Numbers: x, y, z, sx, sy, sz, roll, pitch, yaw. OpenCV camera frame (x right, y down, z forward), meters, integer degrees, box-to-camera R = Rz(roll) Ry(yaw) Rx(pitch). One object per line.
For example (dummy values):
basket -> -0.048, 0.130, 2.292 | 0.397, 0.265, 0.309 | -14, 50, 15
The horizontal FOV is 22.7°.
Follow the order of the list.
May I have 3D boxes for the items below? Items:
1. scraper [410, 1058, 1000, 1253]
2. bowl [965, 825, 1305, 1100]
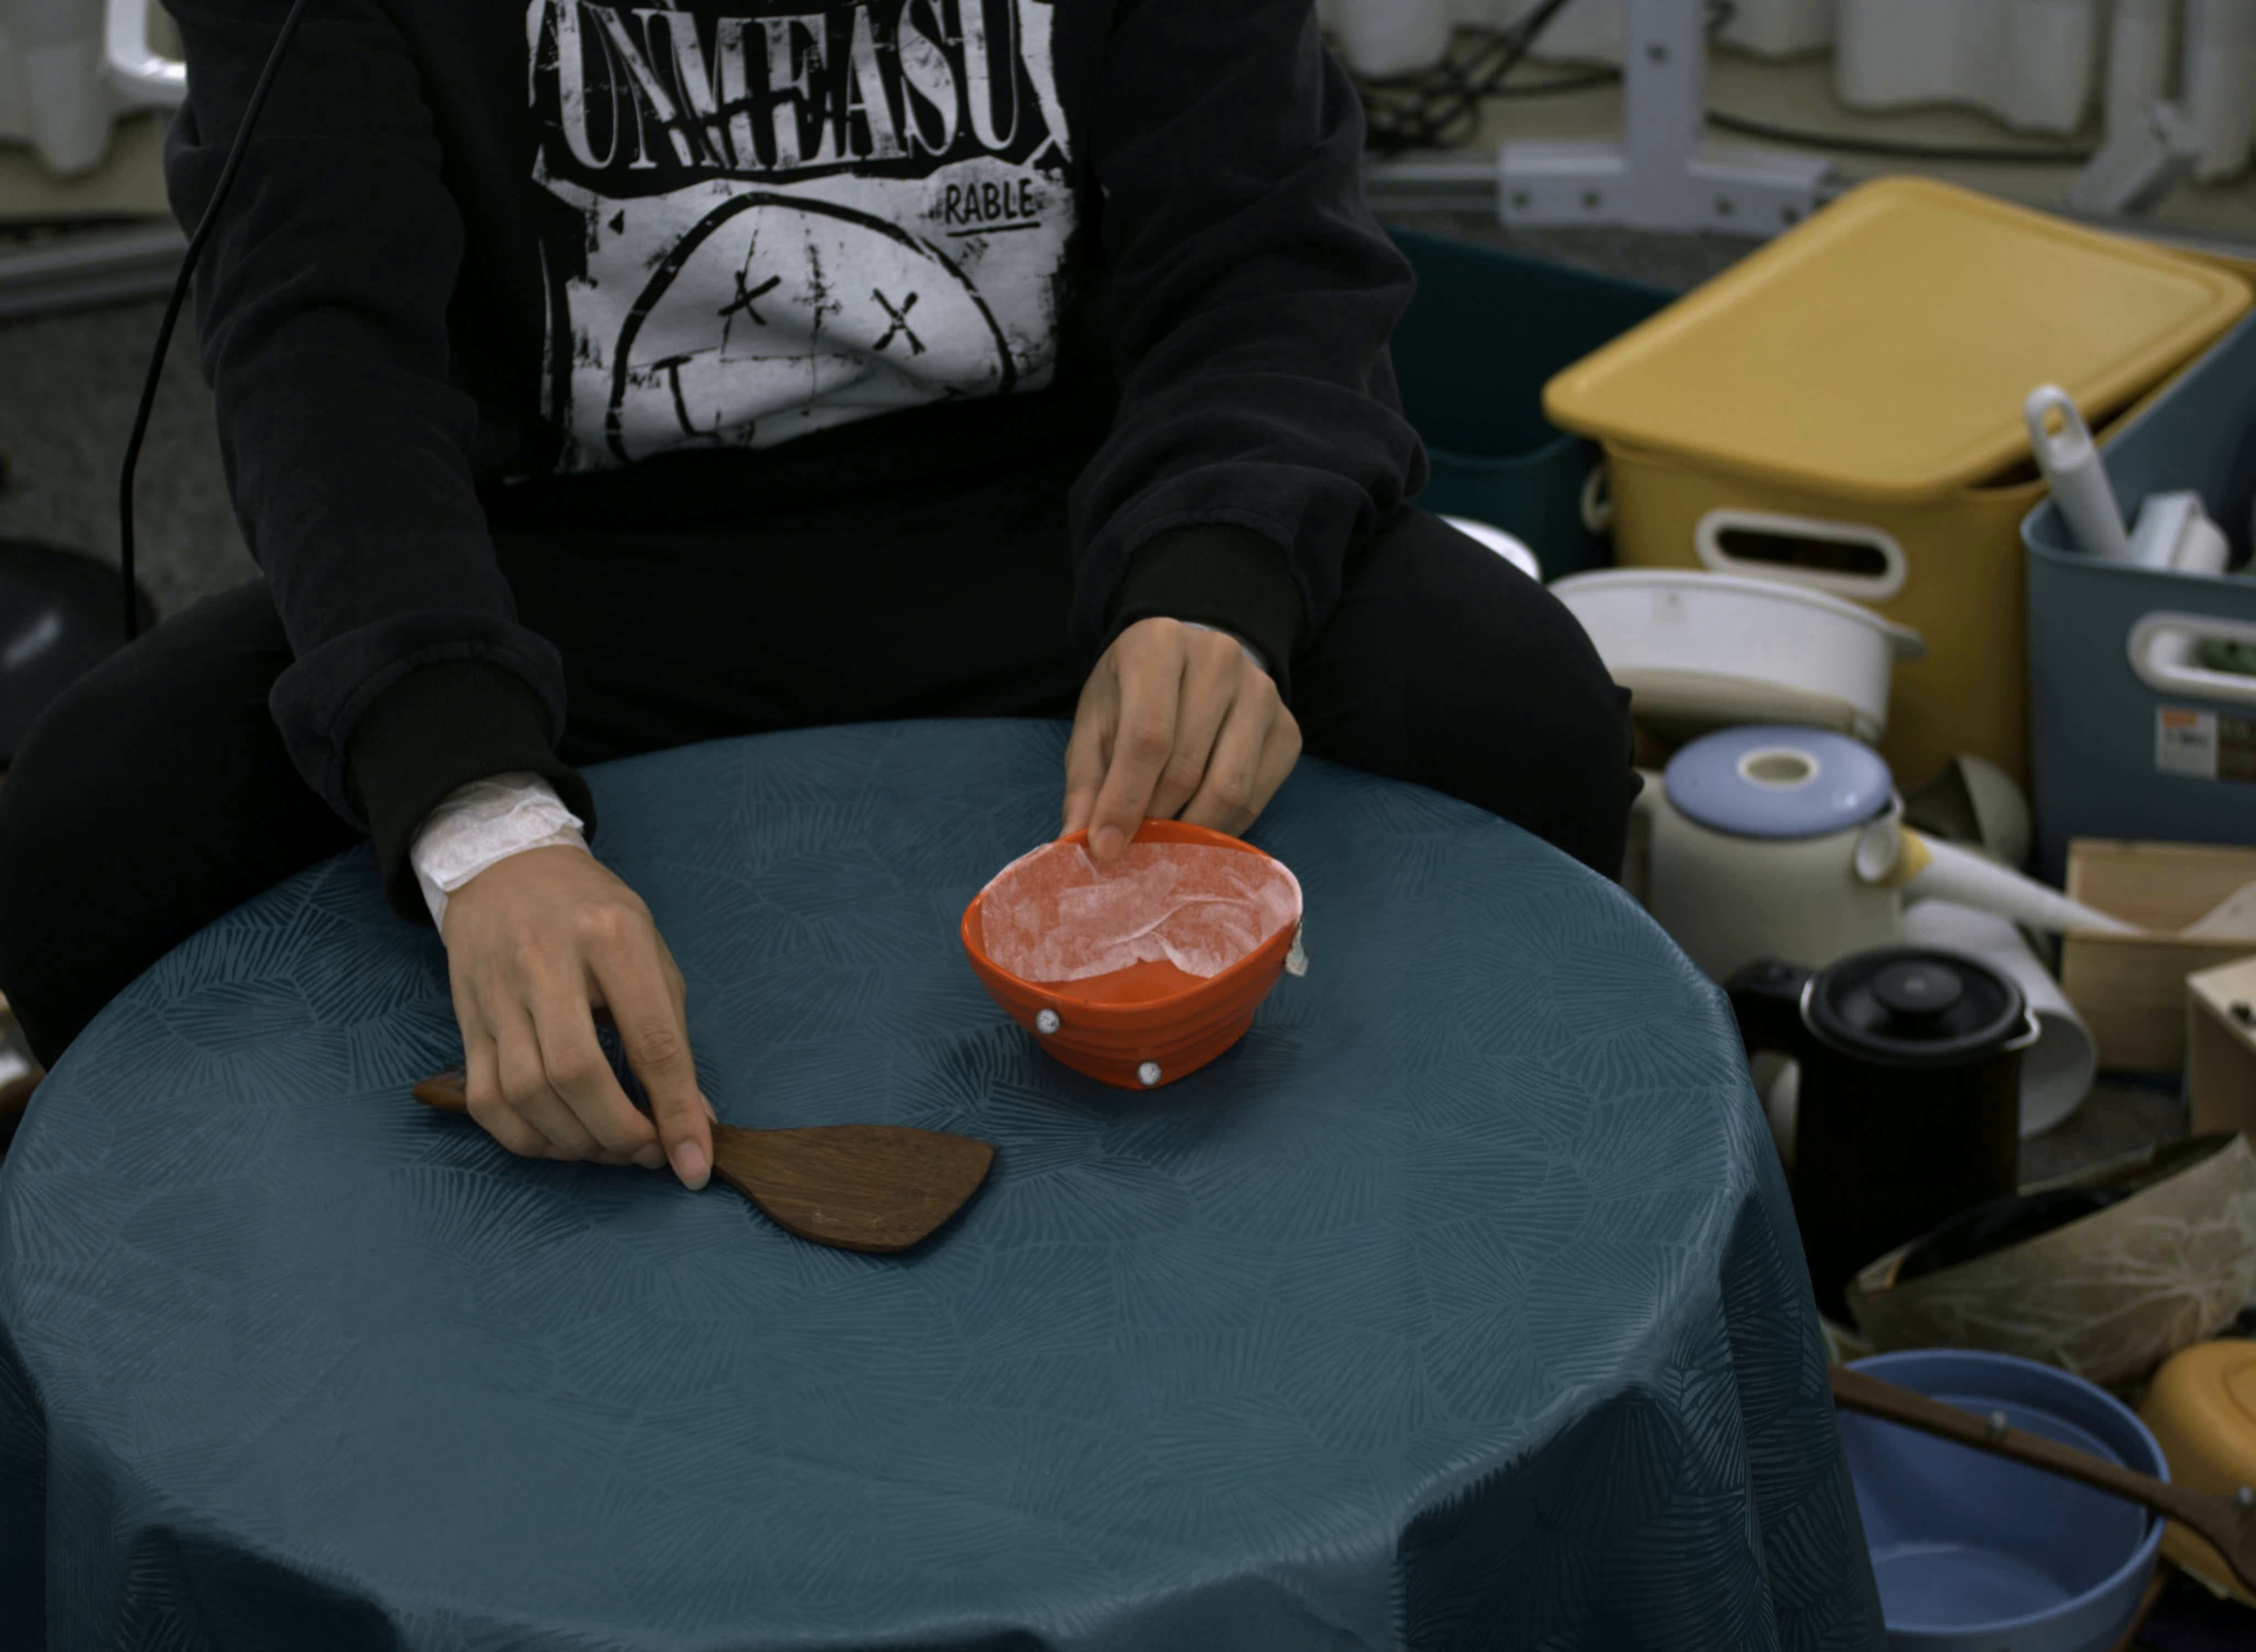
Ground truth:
scraper -> -0.147, 0.106, 1.890 | 0.210, 0.011, 0.077 | 12, 30, 21
bowl -> 0.006, 0.052, 1.942 | 0.118, 0.051, 0.121 | -8, 32, 5
